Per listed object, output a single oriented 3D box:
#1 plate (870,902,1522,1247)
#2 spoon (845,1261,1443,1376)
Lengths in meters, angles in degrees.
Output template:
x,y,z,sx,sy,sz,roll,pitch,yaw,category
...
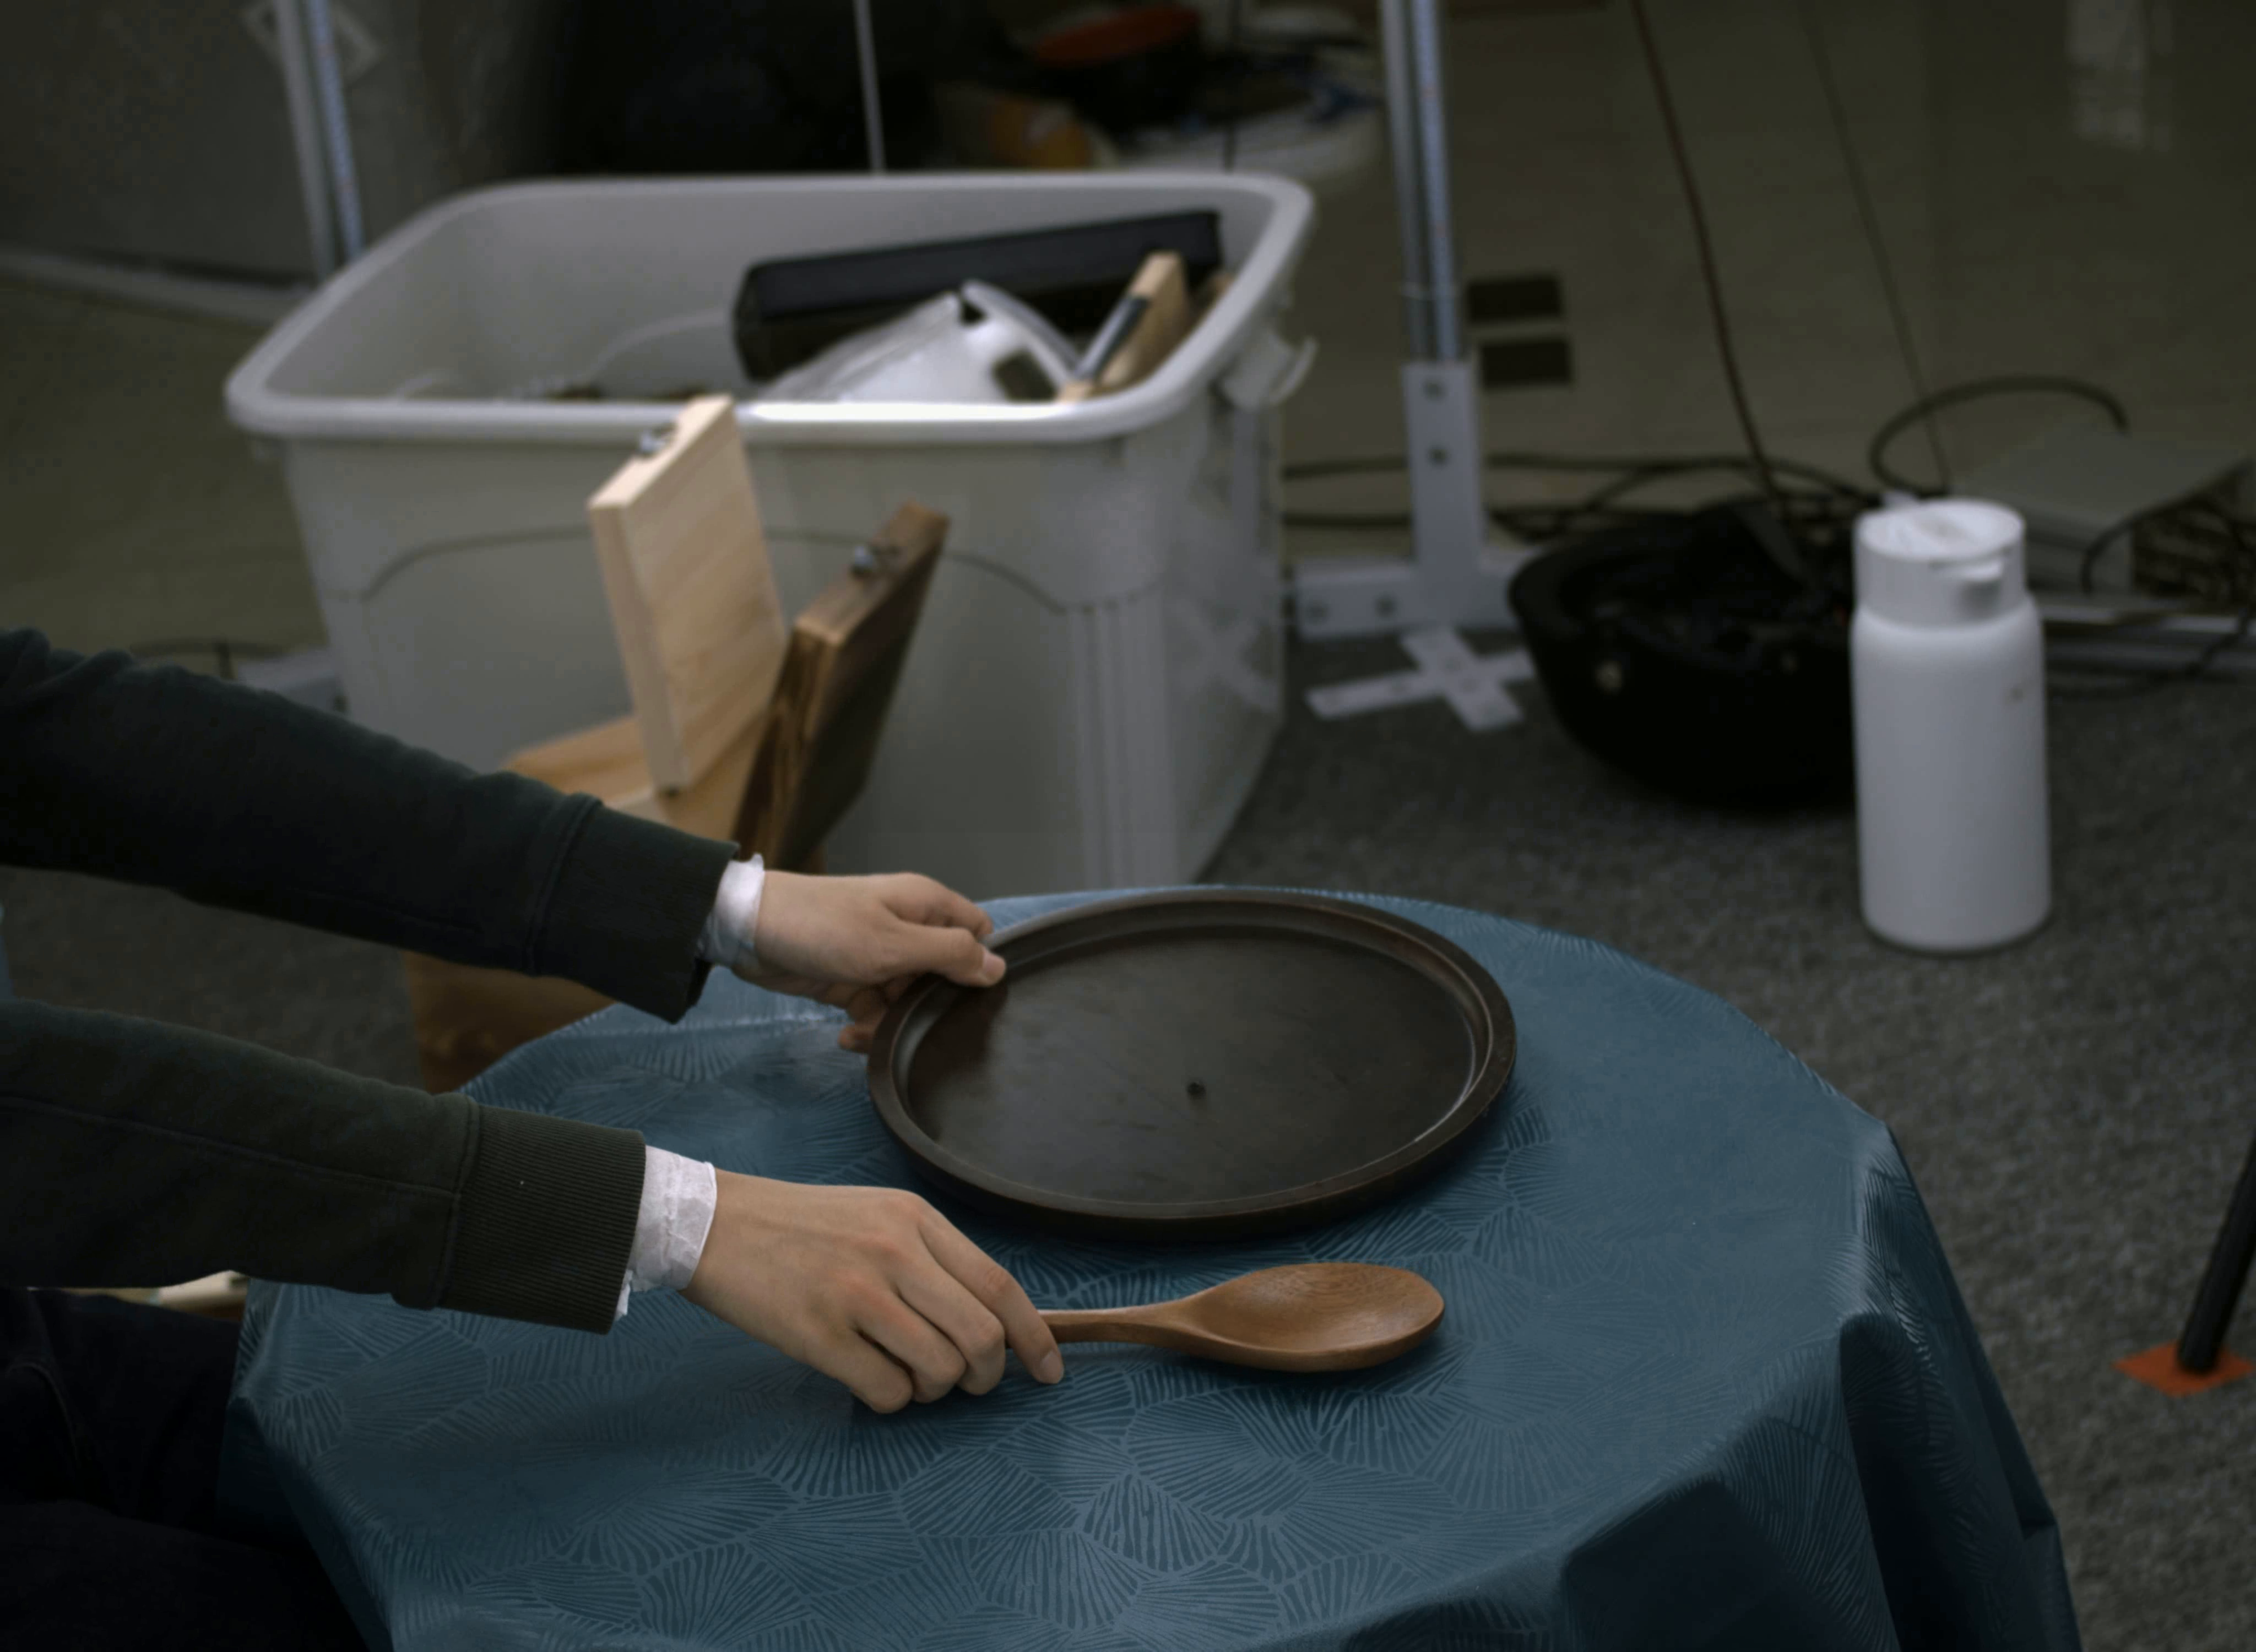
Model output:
x,y,z,sx,sy,sz,roll,pitch,yaw,category
0.026,0.095,2.199,0.254,0.029,0.251,-2,28,1,plate
0.005,0.180,2.037,0.215,0.017,0.074,-2,23,6,spoon
